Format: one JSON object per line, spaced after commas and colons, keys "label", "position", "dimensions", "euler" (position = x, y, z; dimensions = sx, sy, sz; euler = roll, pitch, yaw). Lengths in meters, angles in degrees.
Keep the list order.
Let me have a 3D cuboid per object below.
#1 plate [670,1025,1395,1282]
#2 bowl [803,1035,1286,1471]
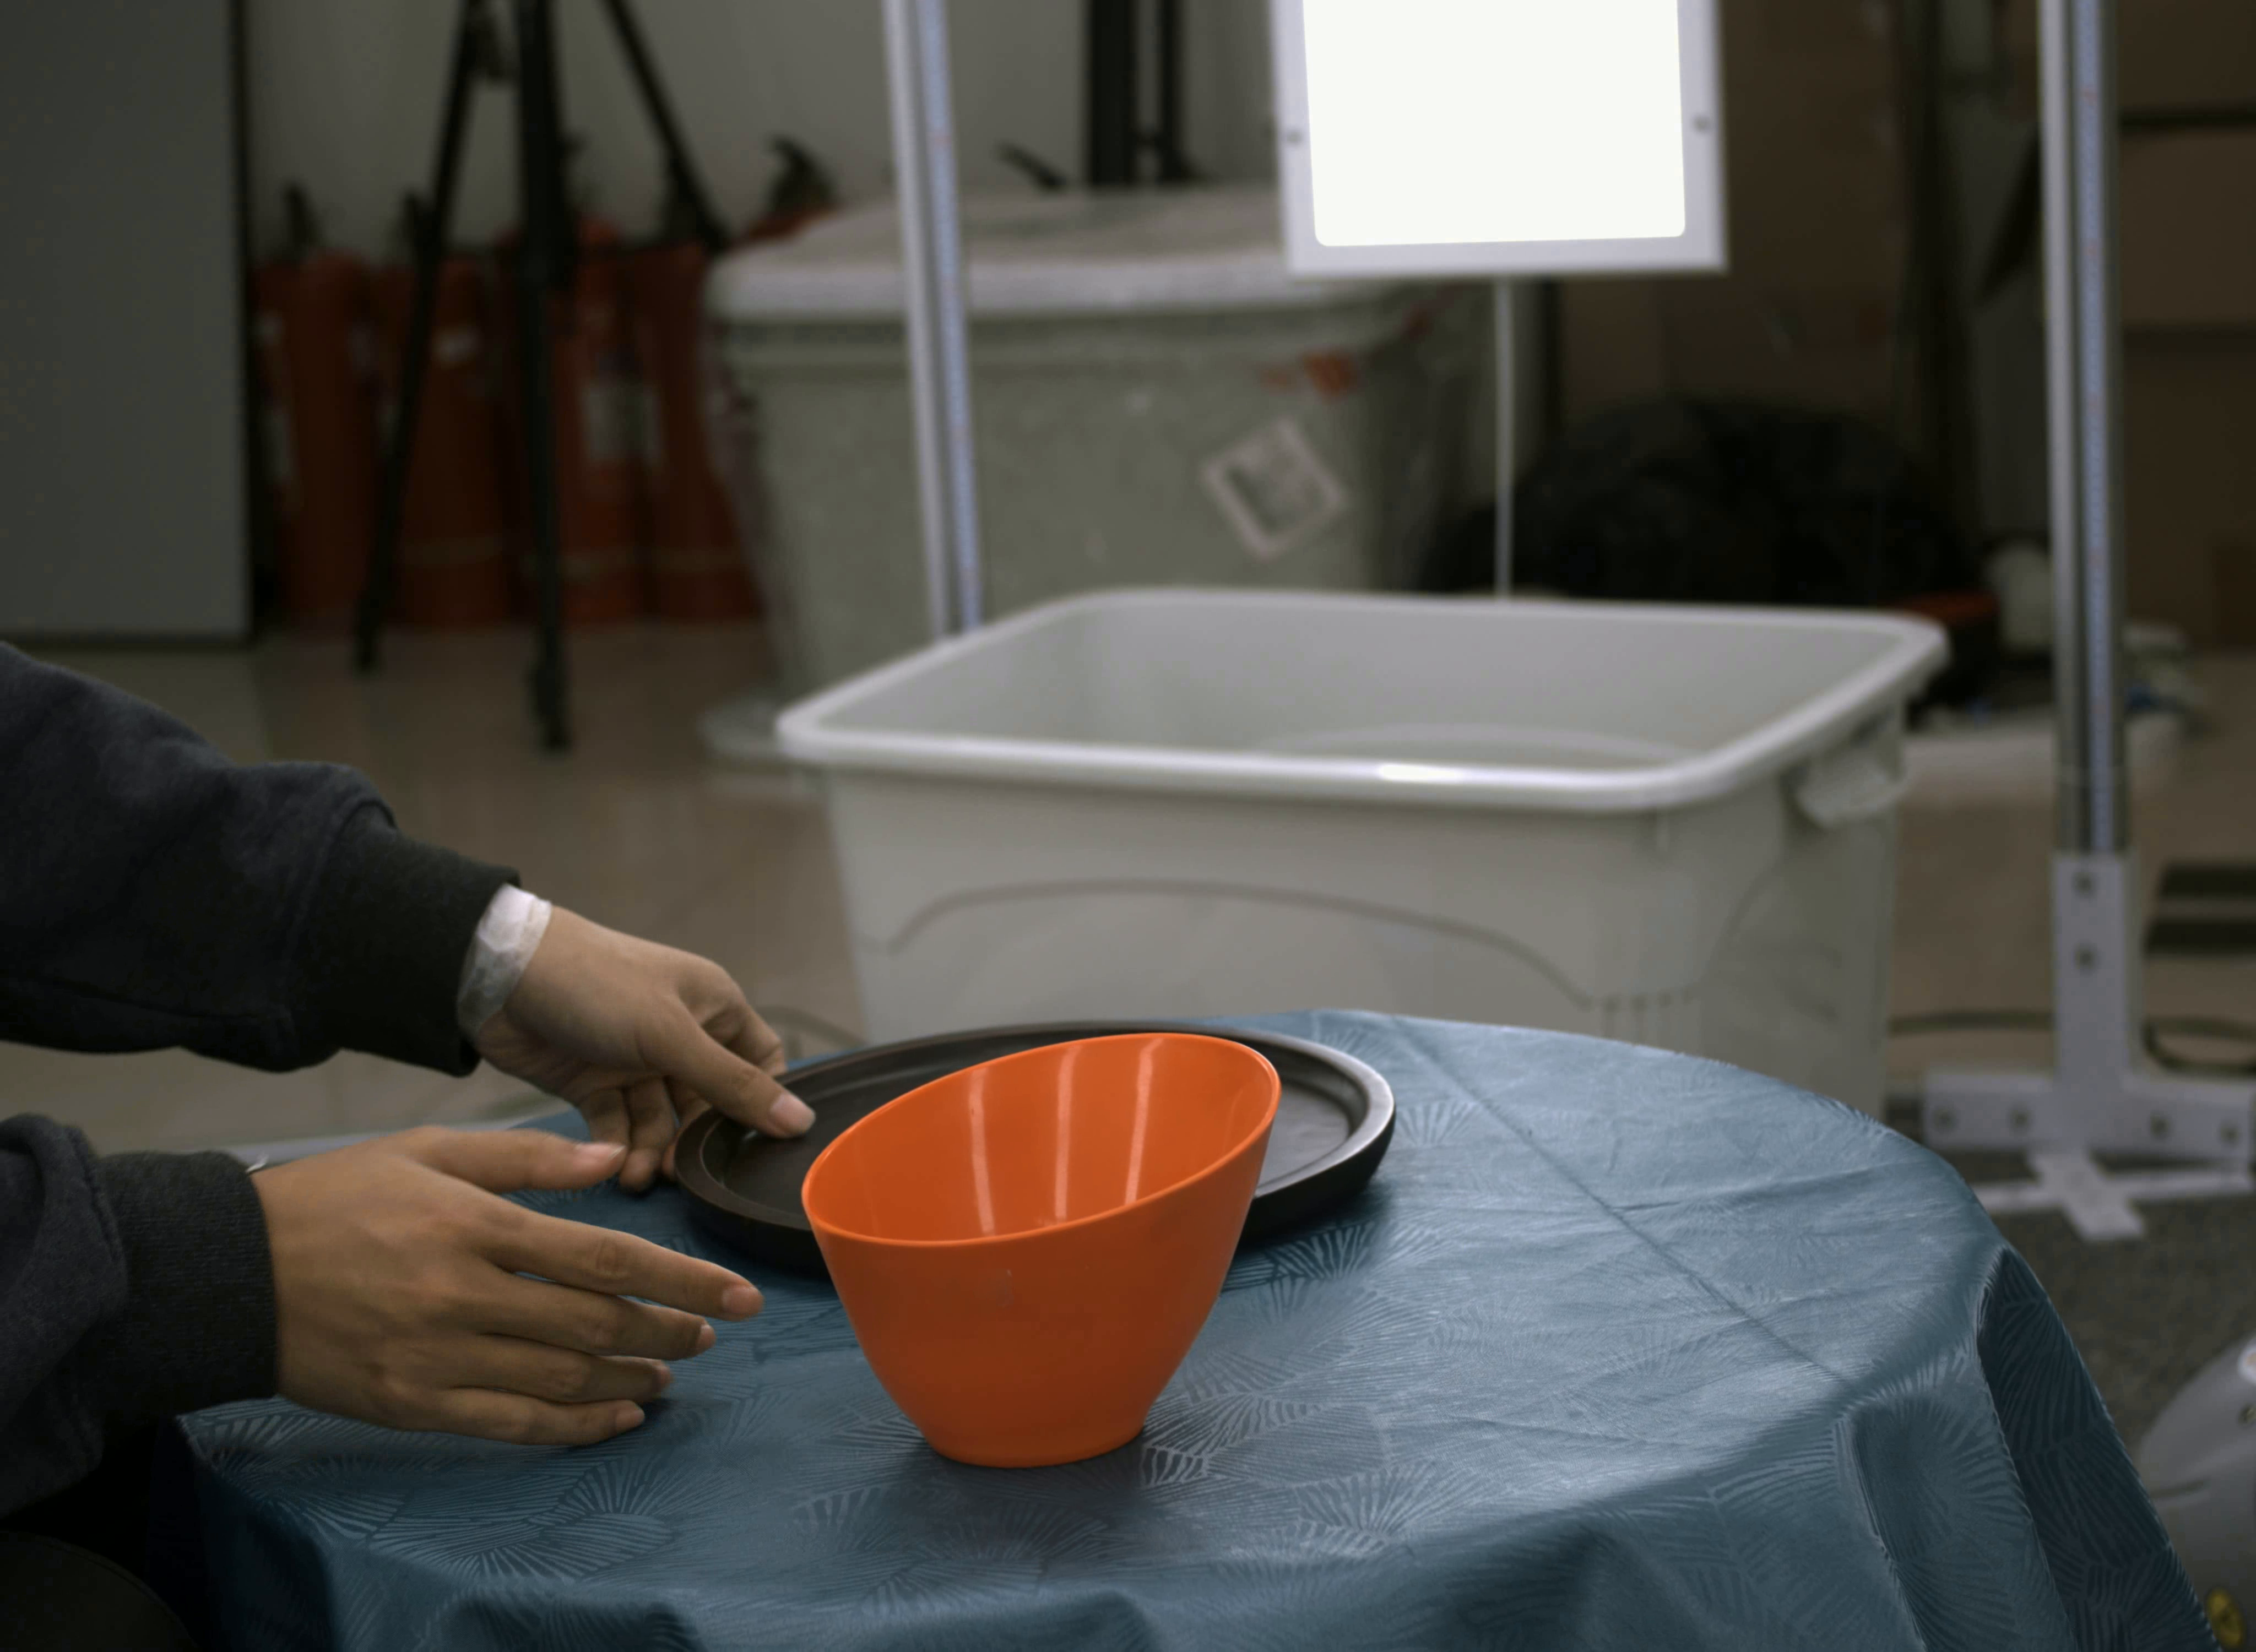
{"label": "plate", "position": [-0.033, 0.113, 1.915], "dimensions": [0.254, 0.029, 0.254], "euler": [-5, 15, 0]}
{"label": "bowl", "position": [-0.022, 0.133, 1.665], "dimensions": [0.147, 0.105, 0.148], "euler": [-4, 15, 0]}
